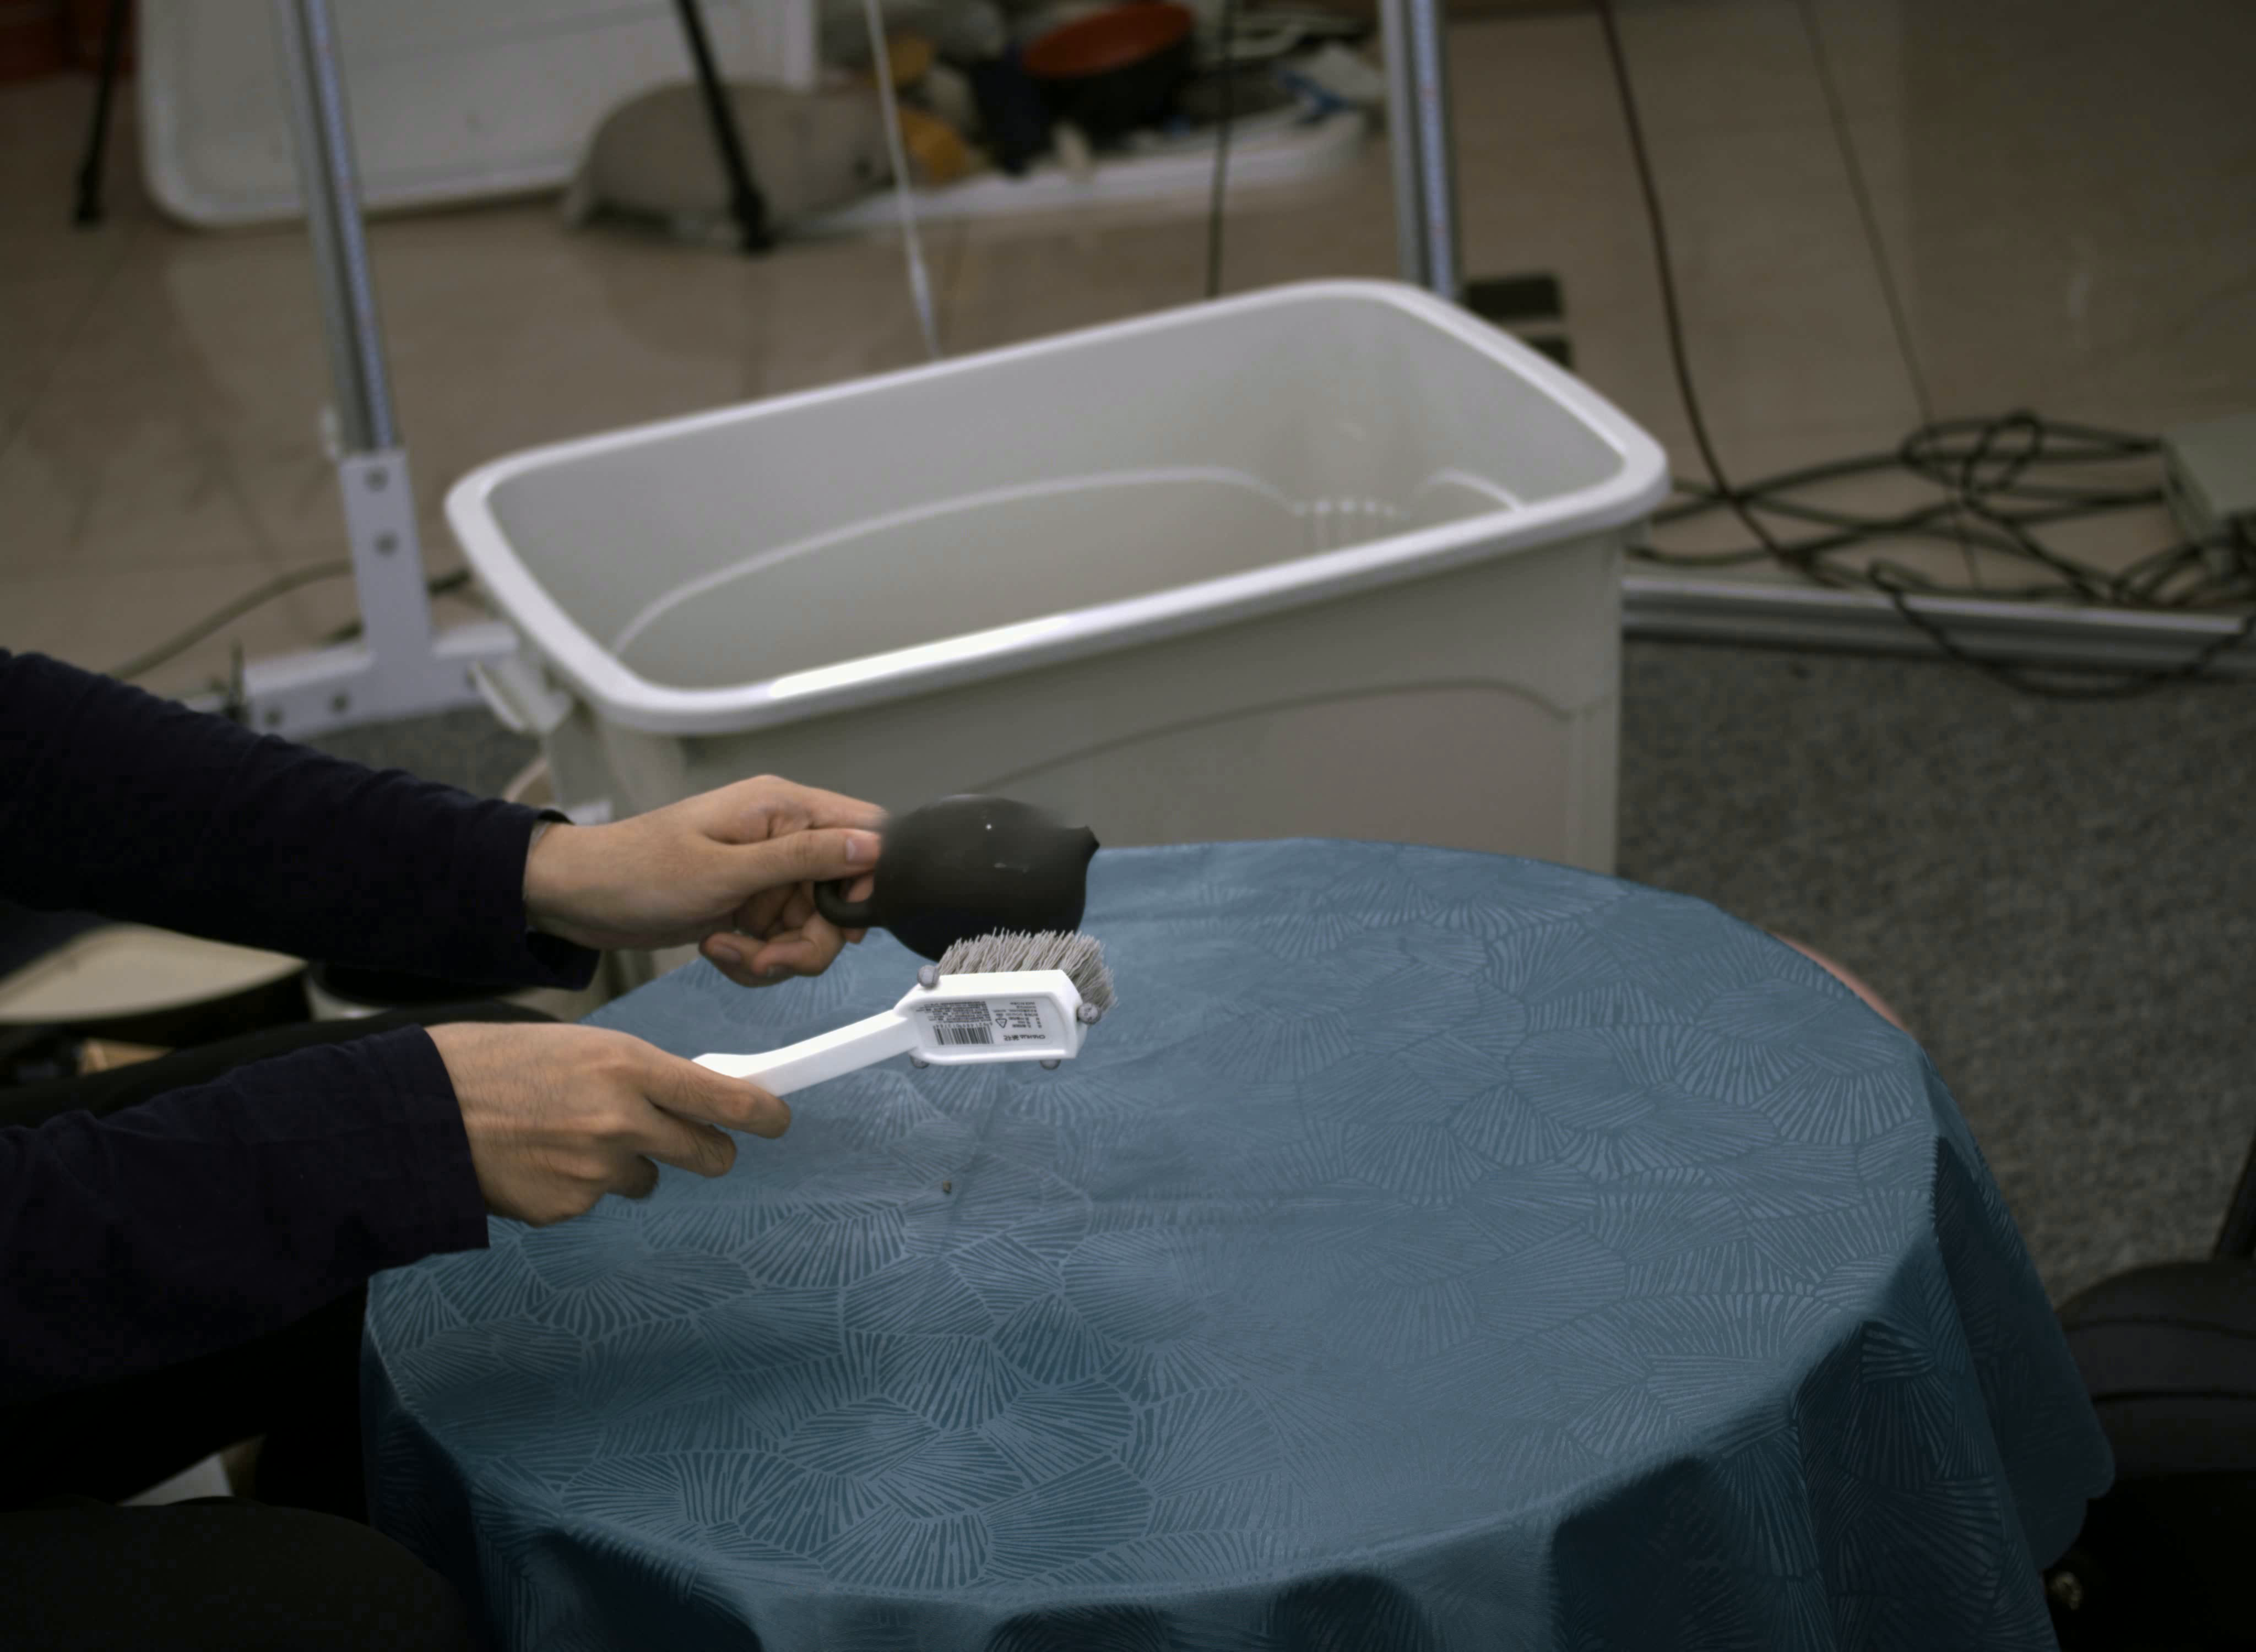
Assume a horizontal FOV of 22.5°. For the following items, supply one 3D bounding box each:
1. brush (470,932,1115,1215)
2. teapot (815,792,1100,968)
[{"bbox_3d":[-0.123,0.089,2.063,0.243,0.035,0.049,-18,23,8],"label":"brush"},{"bbox_3d":[-0.067,0.022,2.170,0.114,0.084,0.052,-2,65,22],"label":"teapot"}]
